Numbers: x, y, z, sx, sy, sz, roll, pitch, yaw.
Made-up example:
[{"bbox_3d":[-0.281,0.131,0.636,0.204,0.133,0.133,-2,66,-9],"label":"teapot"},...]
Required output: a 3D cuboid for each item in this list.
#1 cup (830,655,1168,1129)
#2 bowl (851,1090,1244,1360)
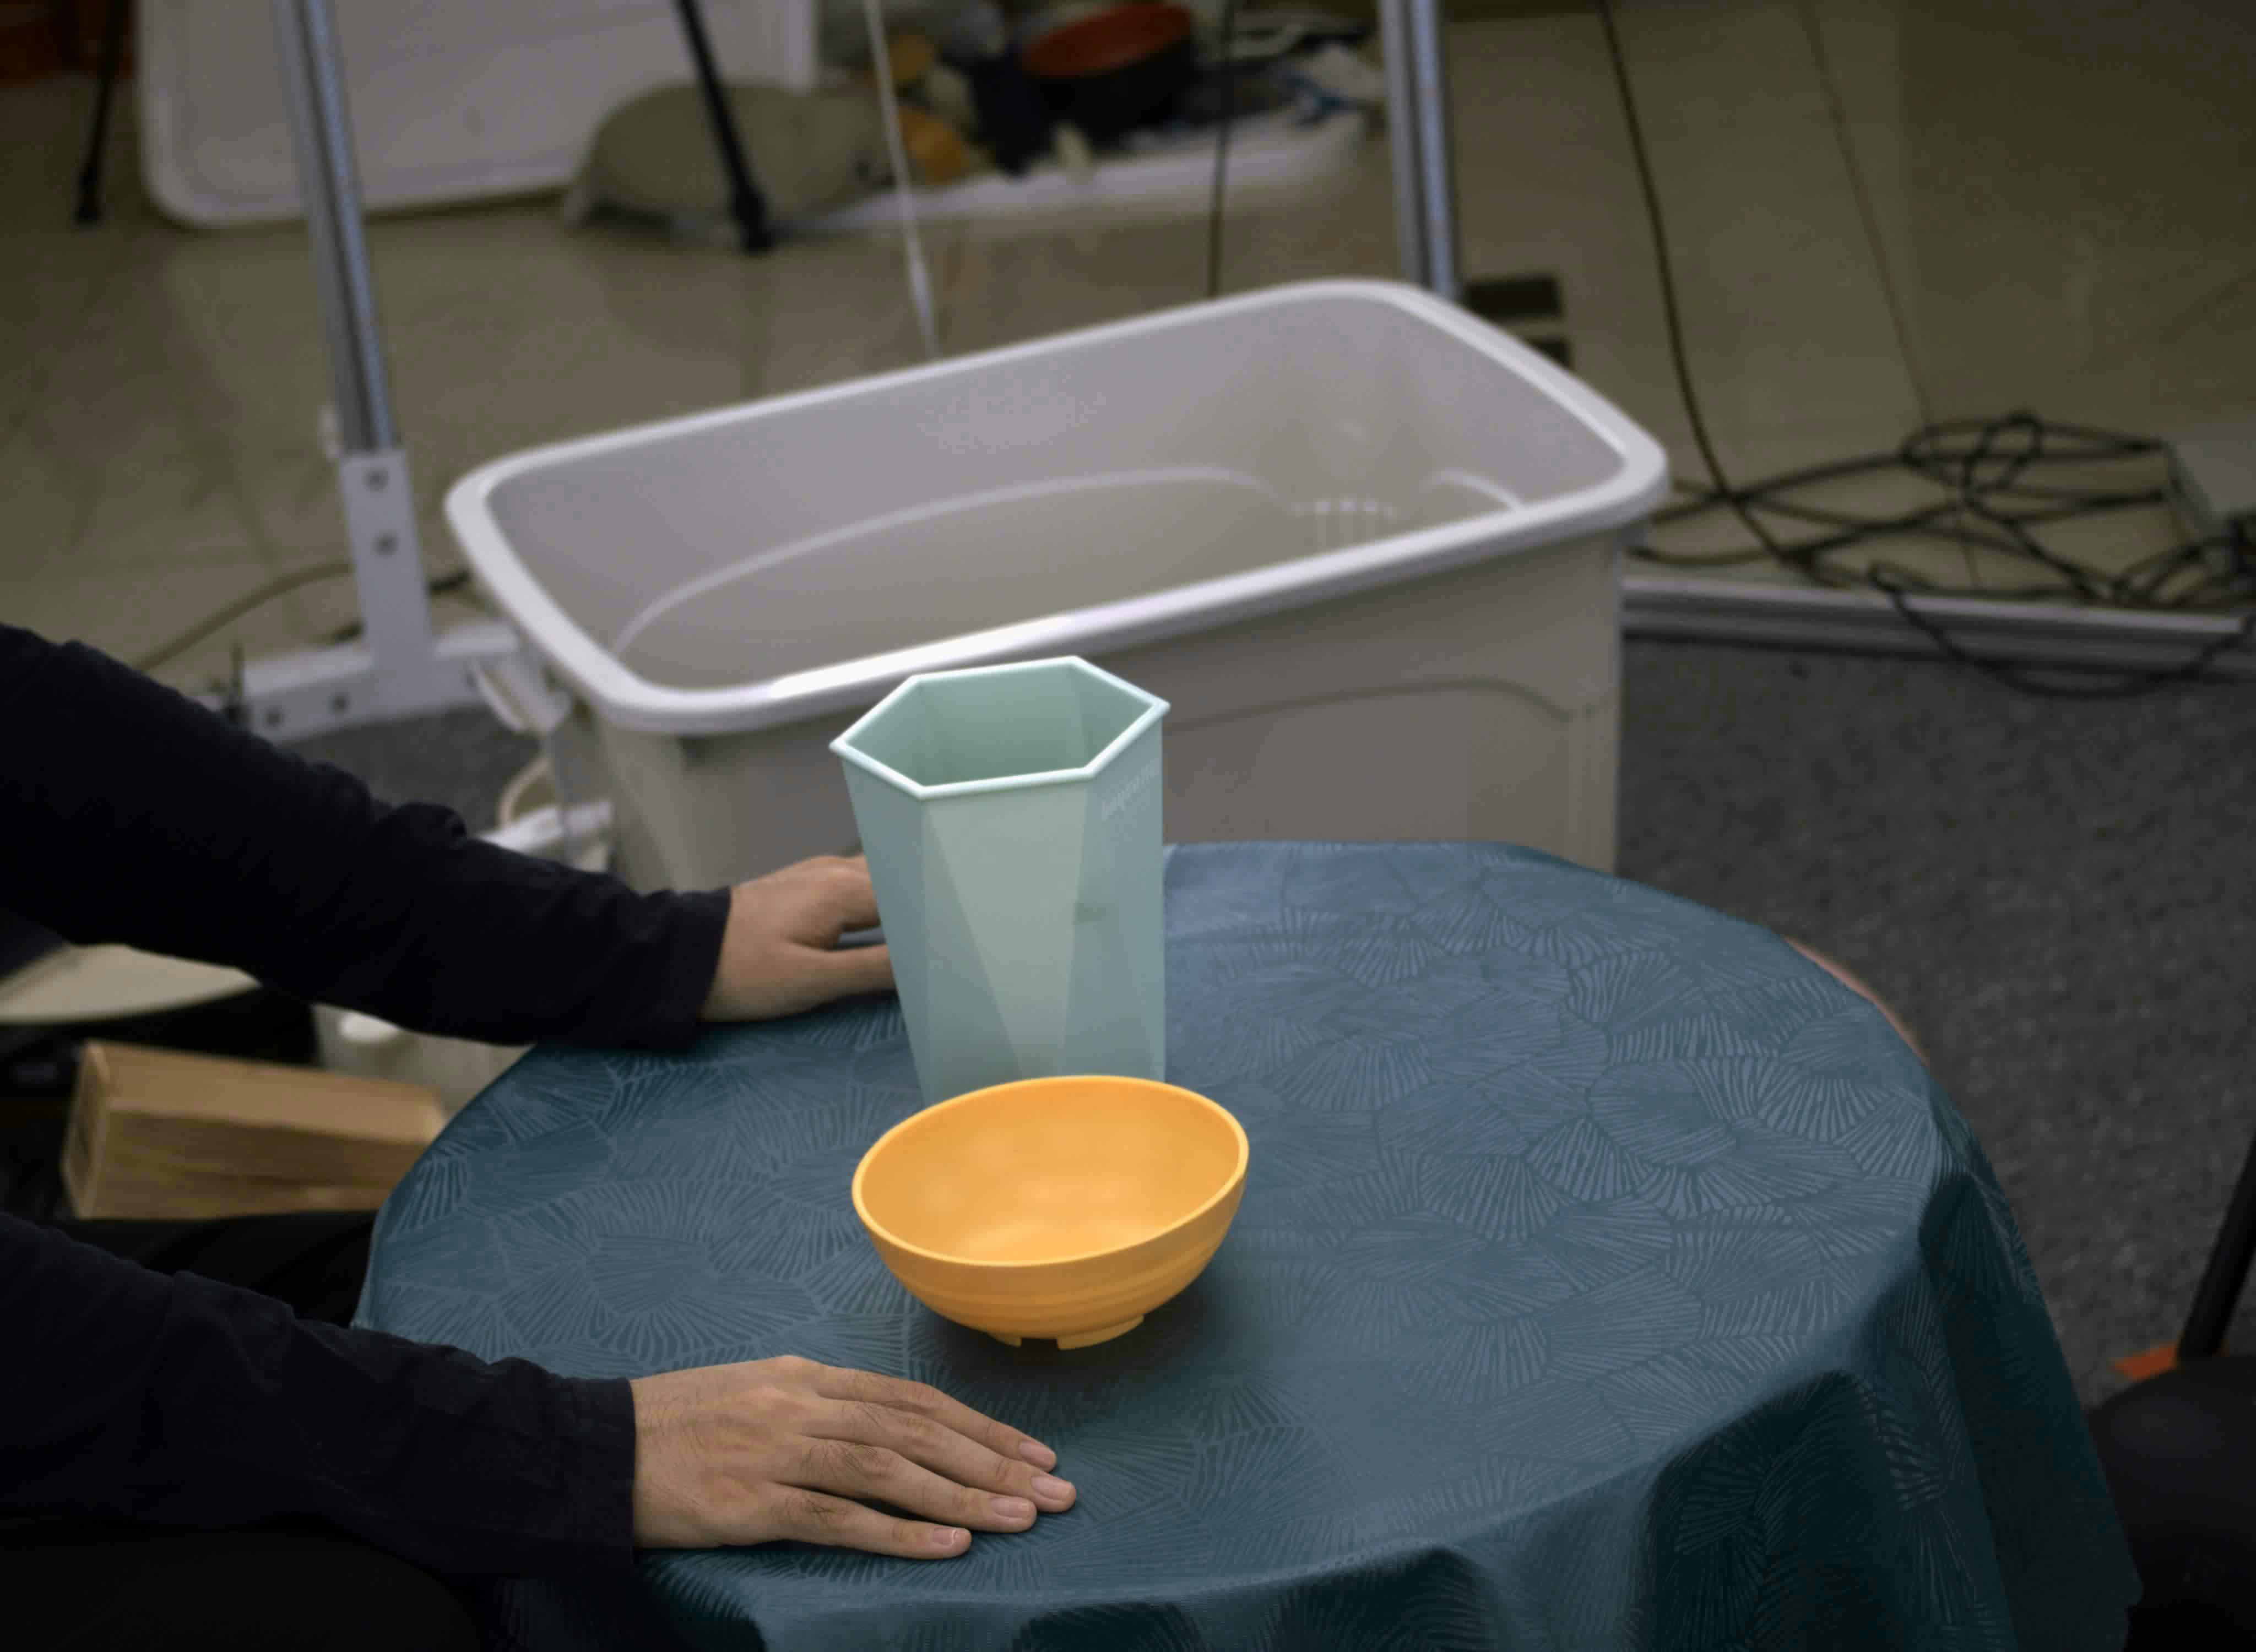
[{"bbox_3d":[-0.040,0.031,2.193,0.115,0.165,0.129,5,27,25],"label":"cup"},{"bbox_3d":[-0.025,0.152,2.061,0.145,0.061,0.143,-8,23,3],"label":"bowl"}]
